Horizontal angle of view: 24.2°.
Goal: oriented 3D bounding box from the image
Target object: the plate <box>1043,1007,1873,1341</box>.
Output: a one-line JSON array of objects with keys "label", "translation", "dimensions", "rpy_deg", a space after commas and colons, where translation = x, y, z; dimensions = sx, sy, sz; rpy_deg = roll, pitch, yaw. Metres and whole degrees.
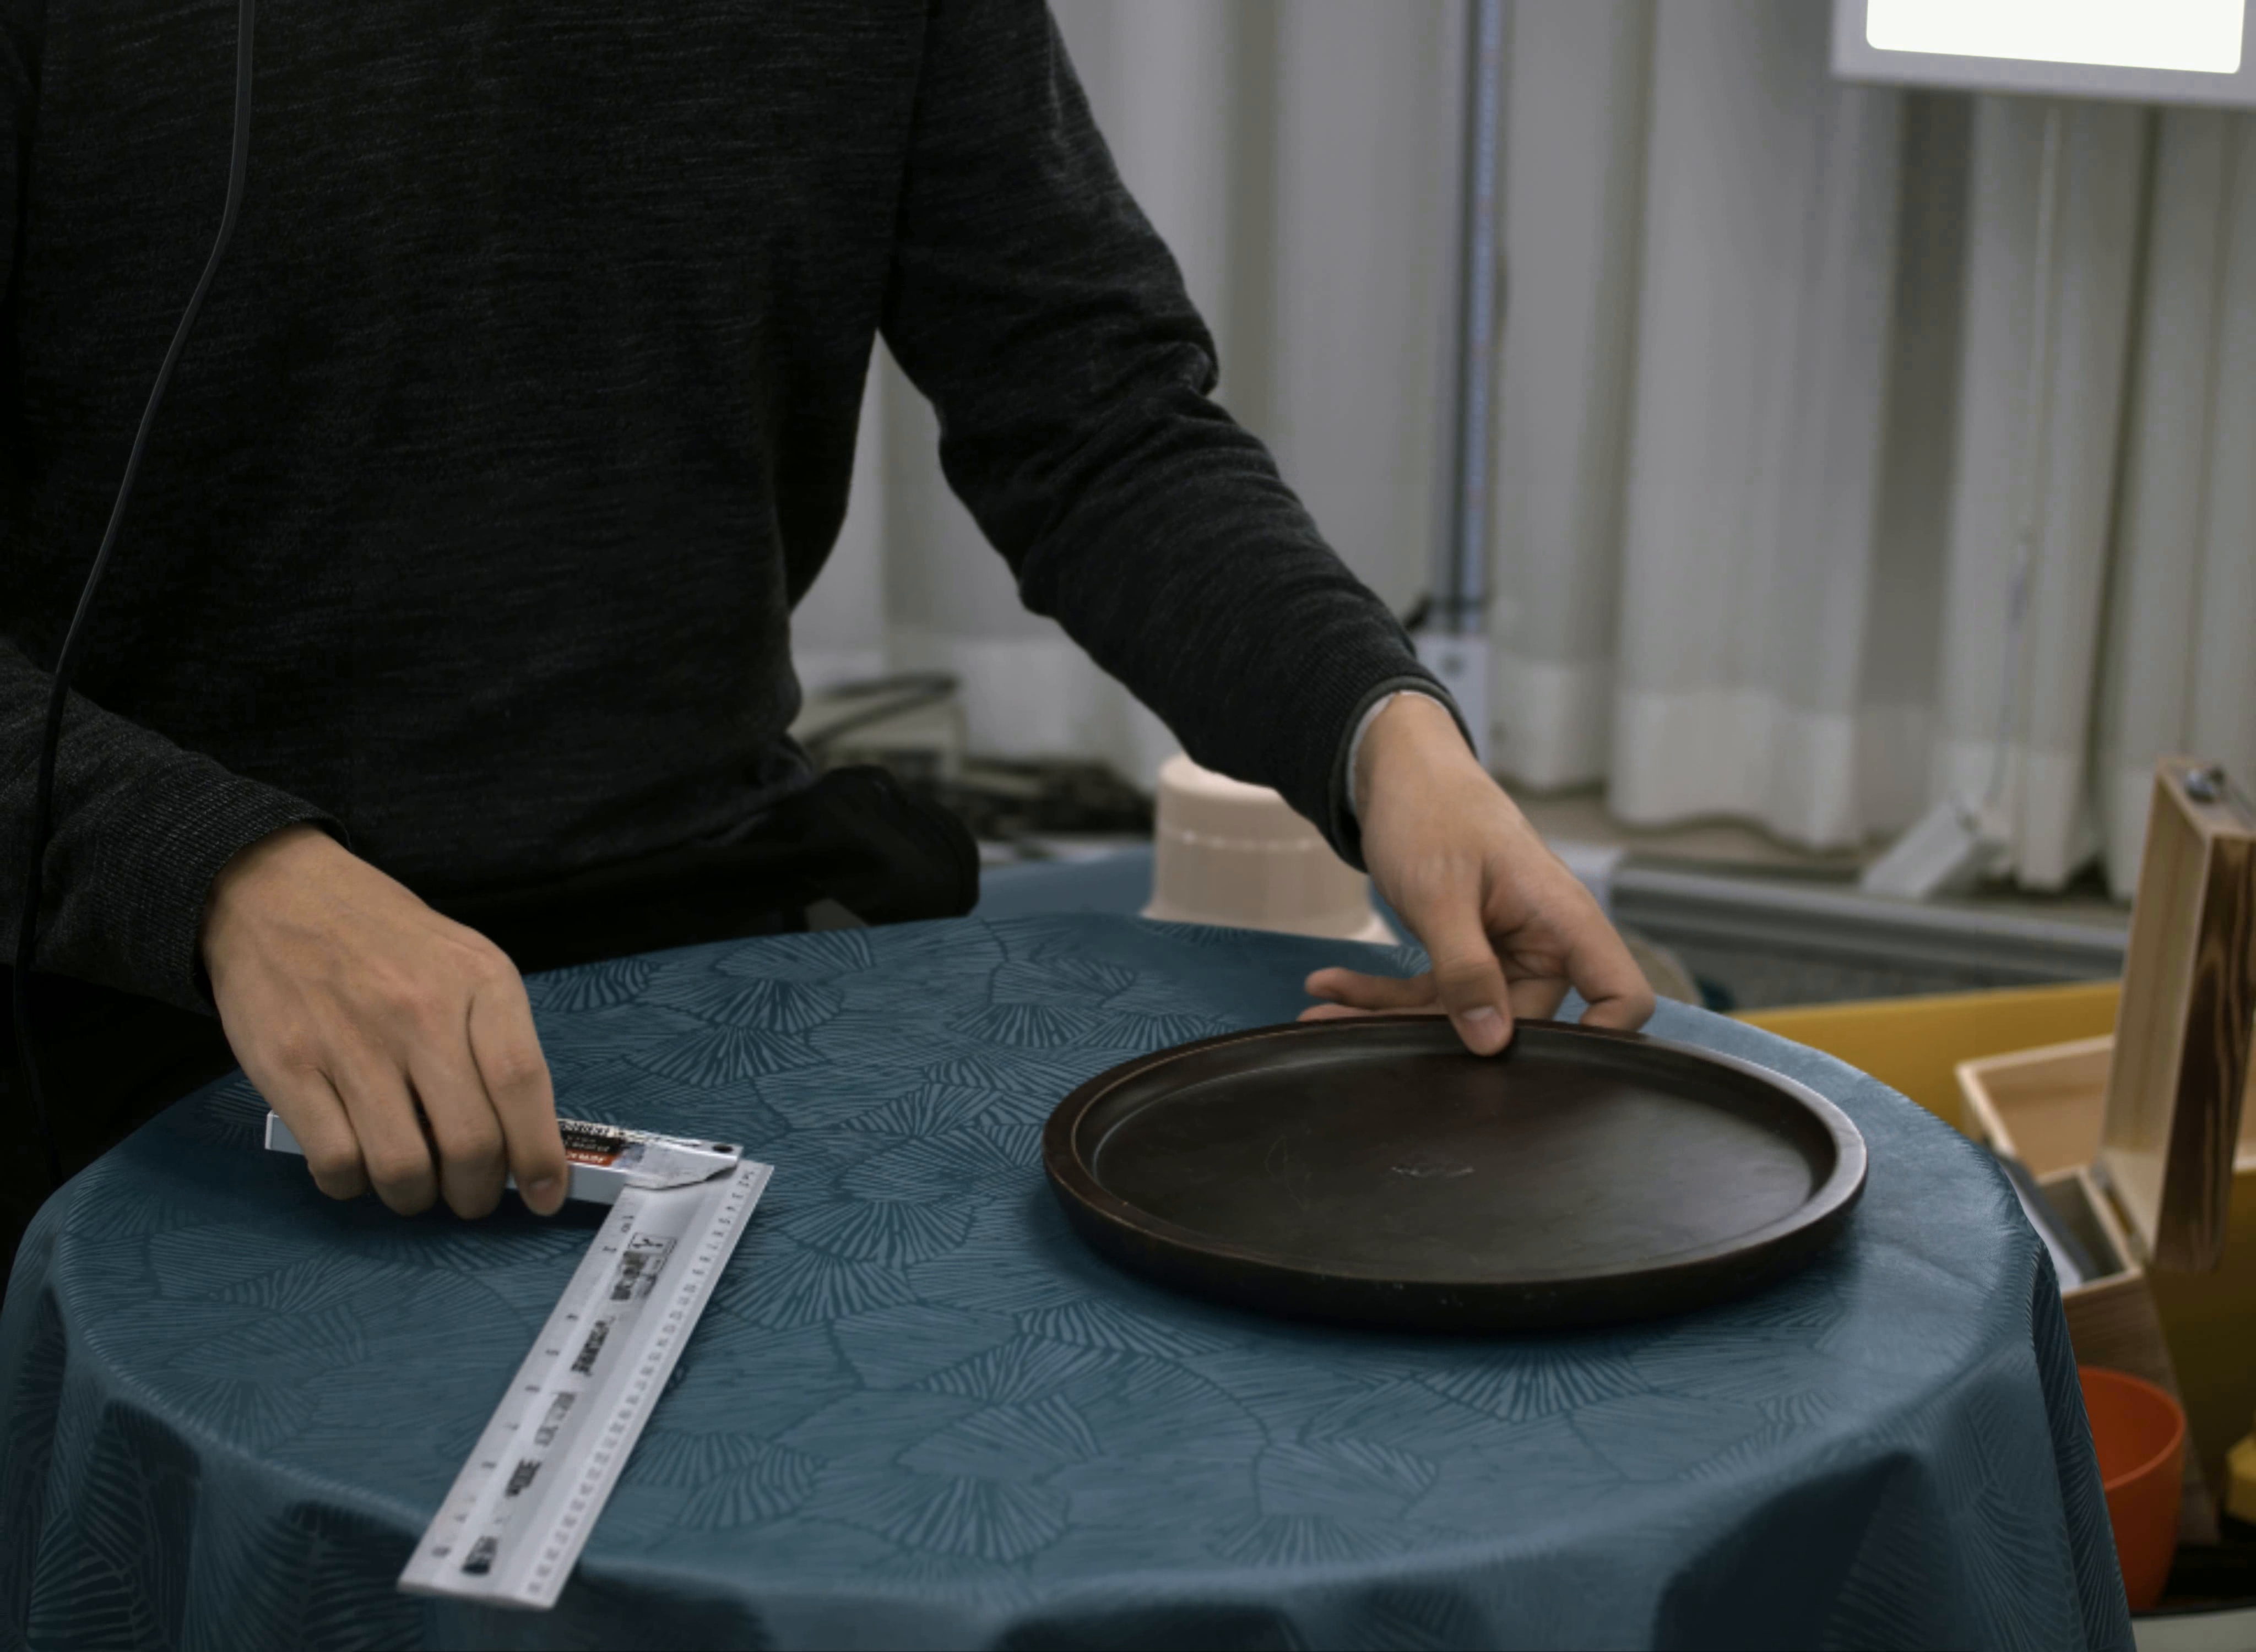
[{"label": "plate", "translation": [0.100, 0.105, 1.607], "dimensions": [0.254, 0.029, 0.253], "rpy_deg": [0, 17, 0]}]

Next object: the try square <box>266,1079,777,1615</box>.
[{"label": "try square", "translation": [-0.199, 0.139, 1.466], "dimensions": [0.151, 0.016, 0.312], "rpy_deg": [9, 18, 4]}]
